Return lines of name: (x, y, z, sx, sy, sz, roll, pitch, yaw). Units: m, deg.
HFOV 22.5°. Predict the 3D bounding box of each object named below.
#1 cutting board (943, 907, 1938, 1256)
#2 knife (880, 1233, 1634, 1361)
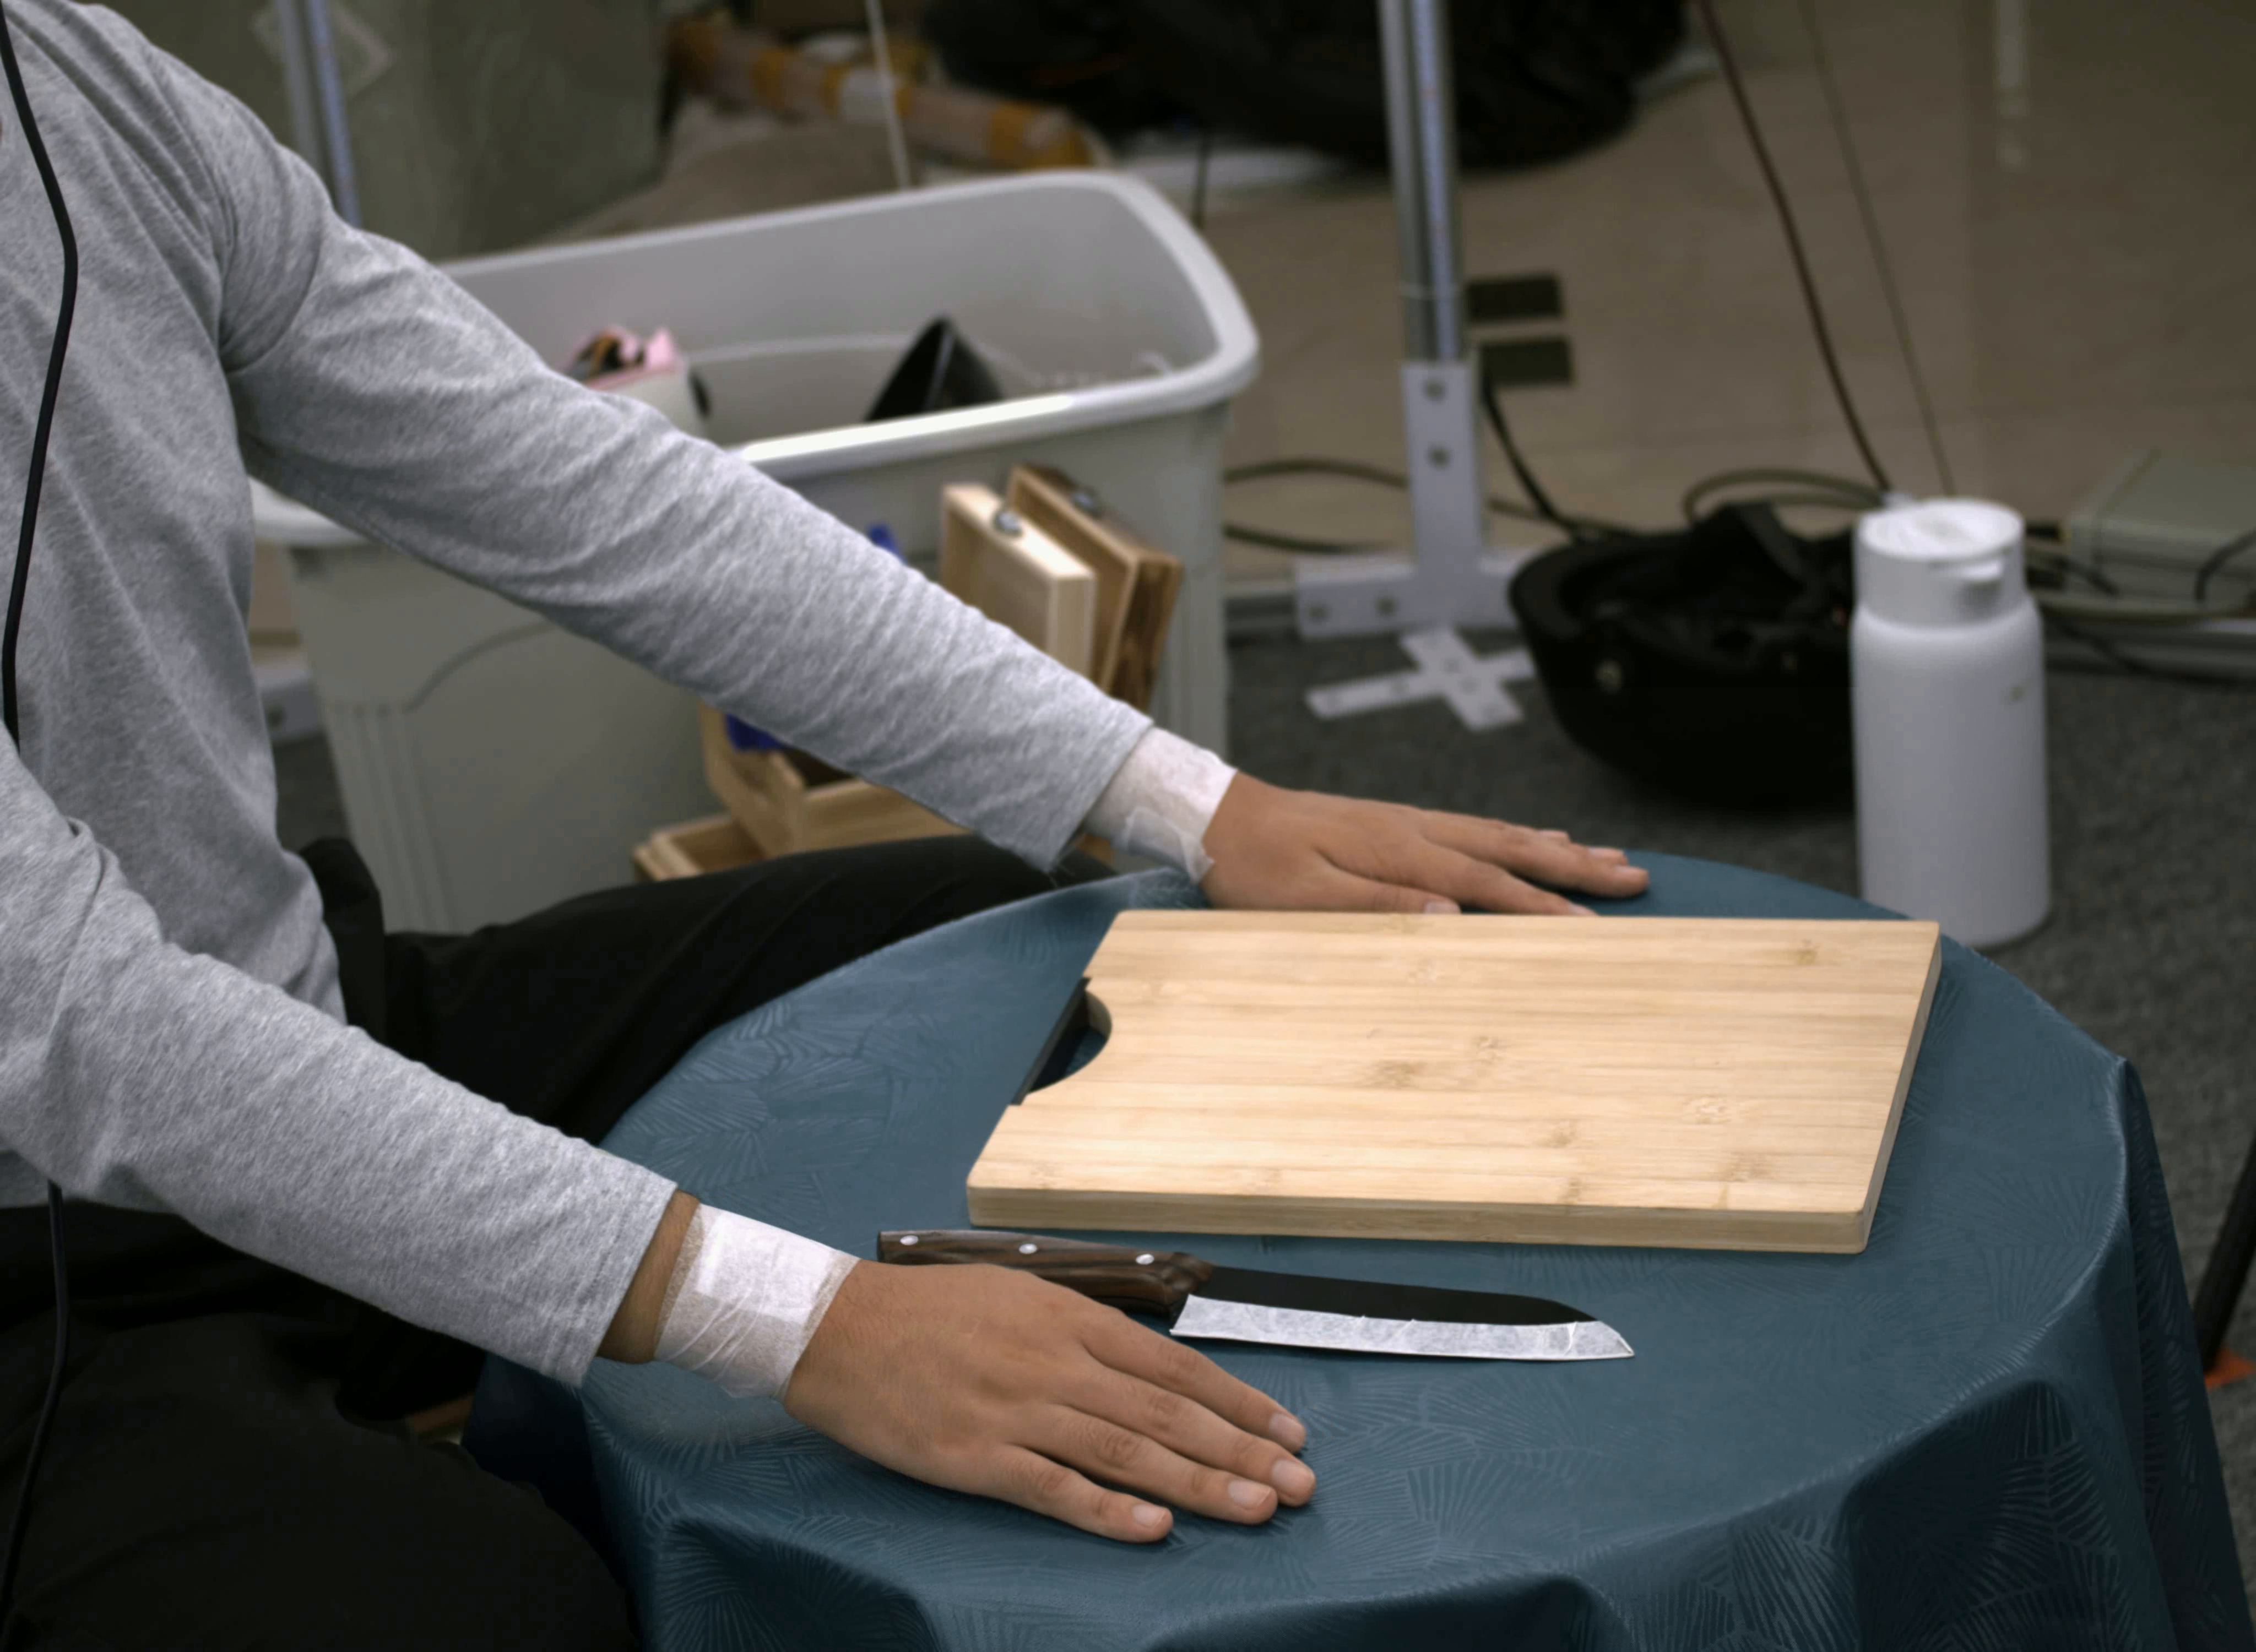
cutting board: (0.126, 0.095, 2.197, 0.348, 0.024, 0.247, 0, 25, 15)
knife: (0.043, 0.172, 2.052, 0.288, 0.020, 0.049, 5, 32, 18)
